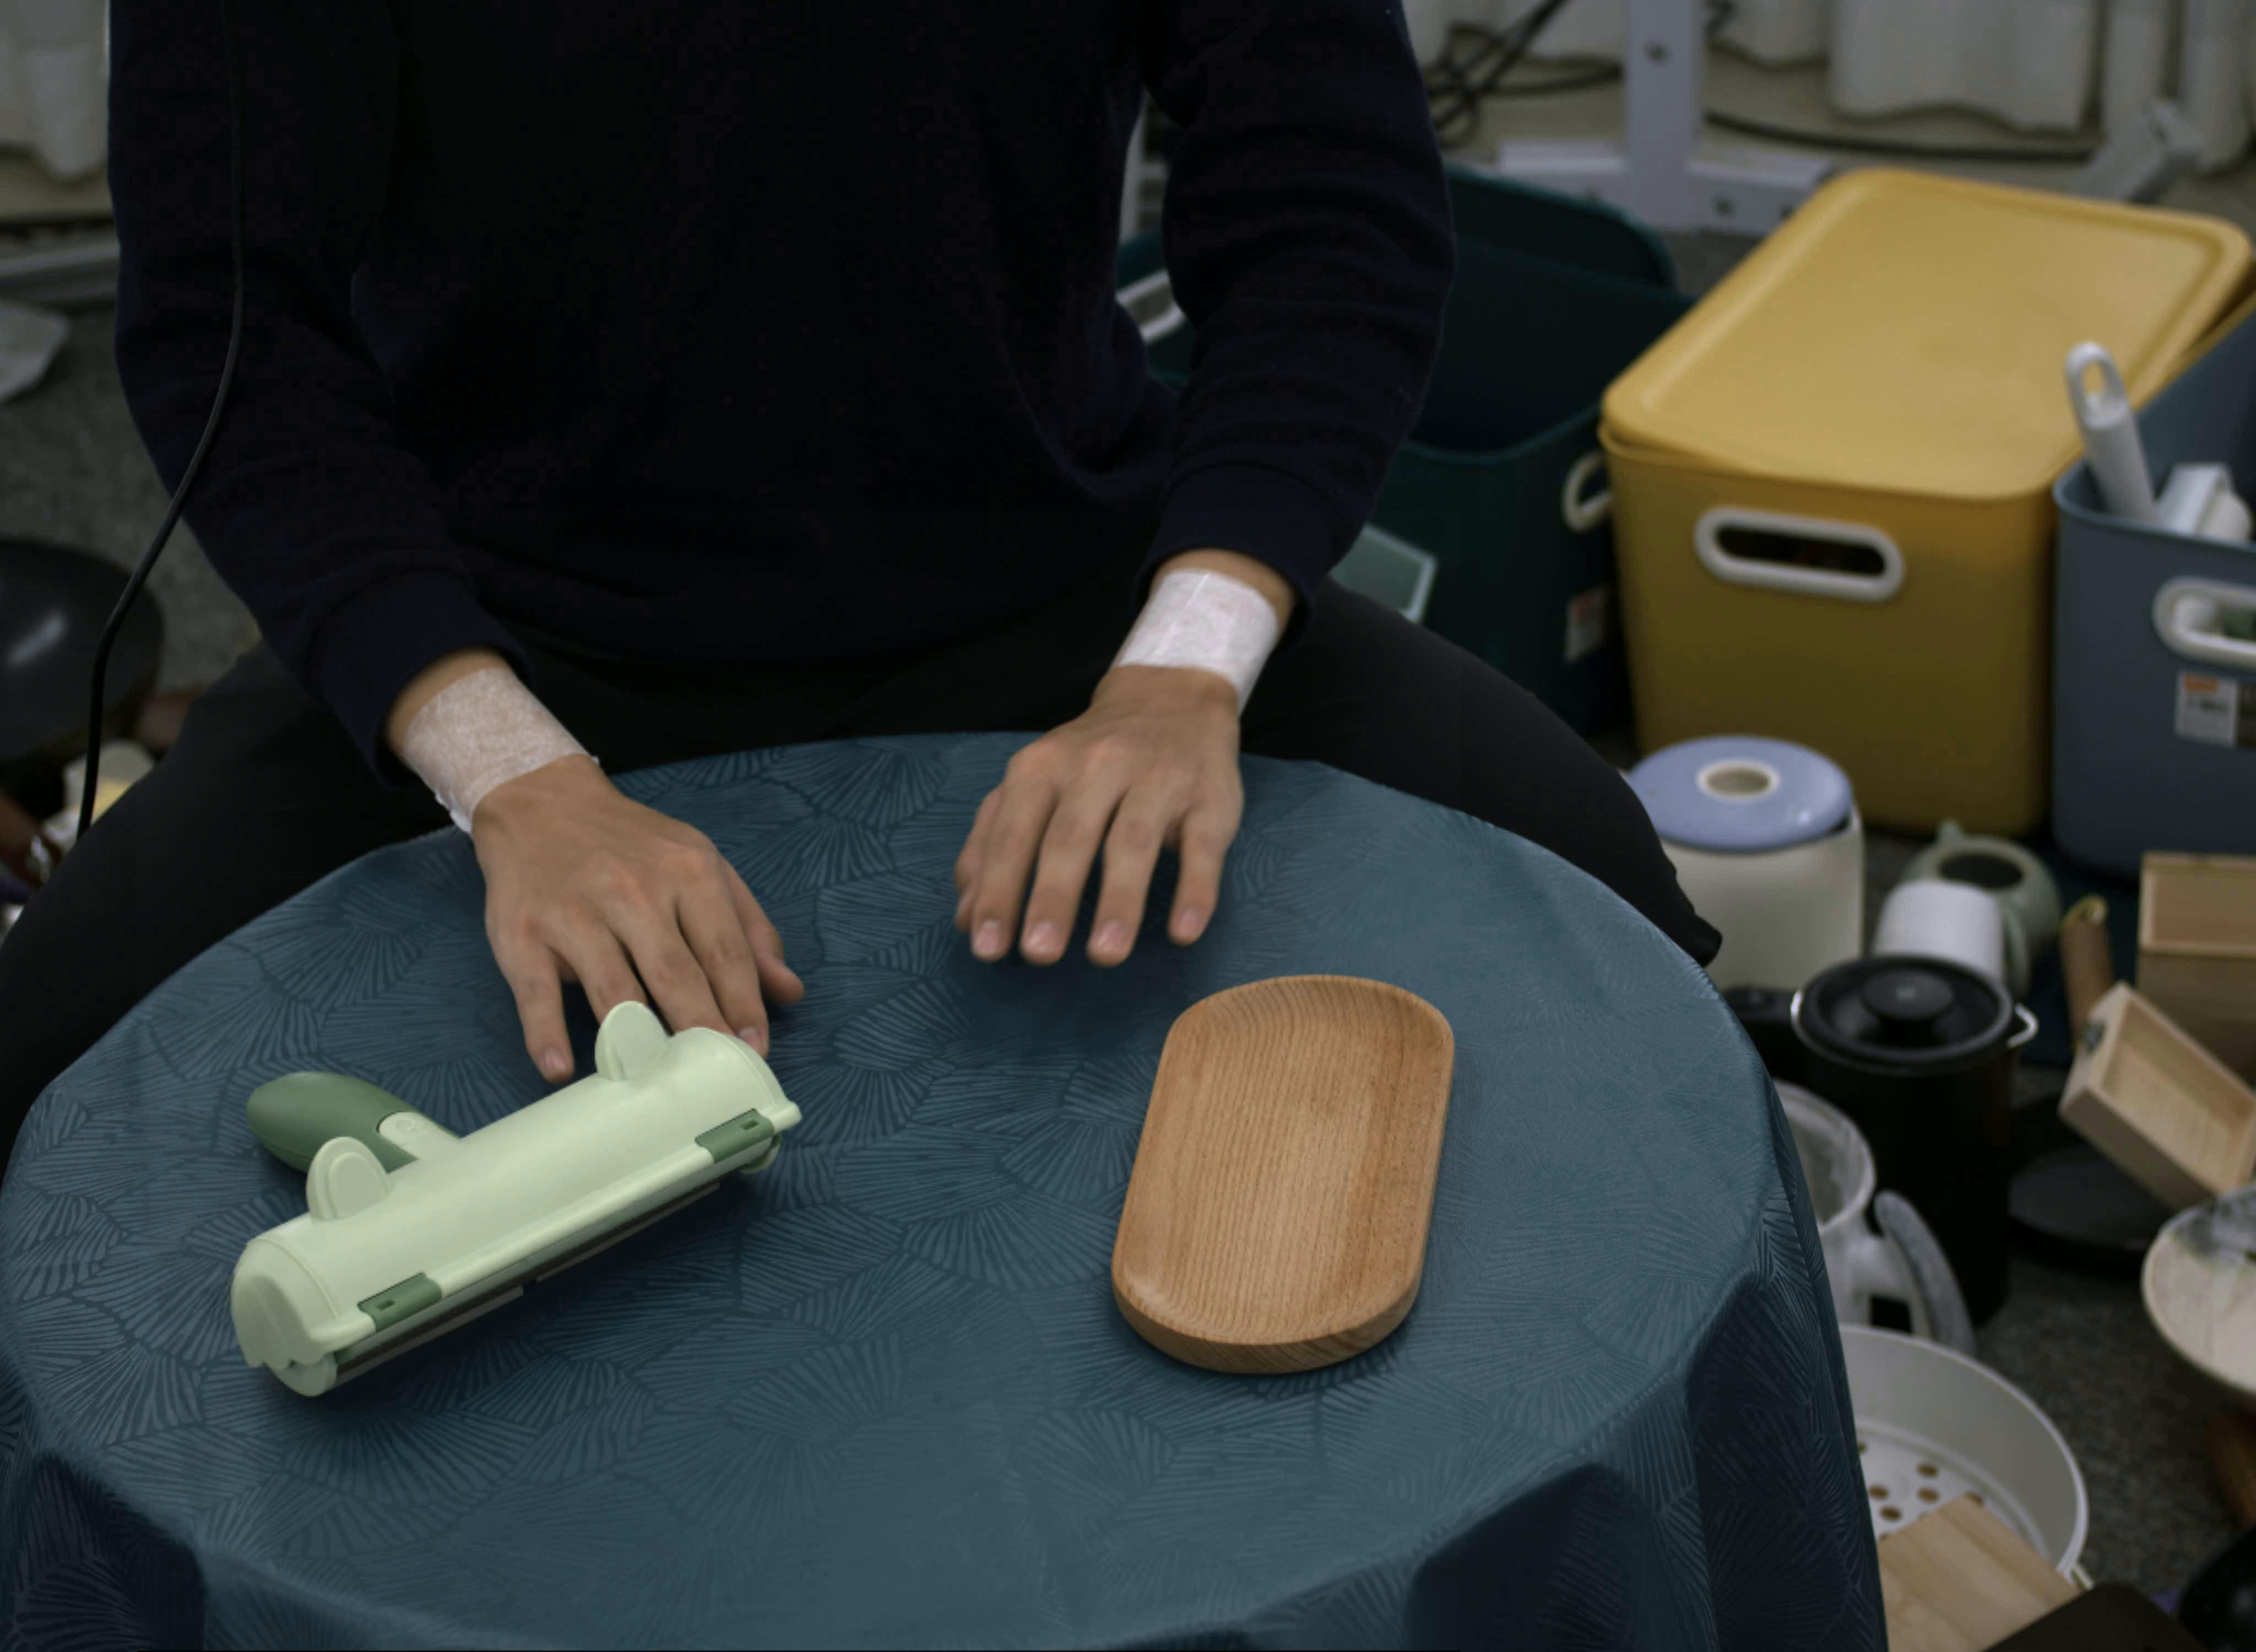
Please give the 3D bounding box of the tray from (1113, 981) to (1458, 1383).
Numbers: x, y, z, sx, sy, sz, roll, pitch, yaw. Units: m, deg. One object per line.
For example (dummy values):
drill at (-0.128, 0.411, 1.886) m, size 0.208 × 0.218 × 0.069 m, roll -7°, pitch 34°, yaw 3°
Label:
tray at (0.054, 0.115, 1.853) m, size 0.101 × 0.020 × 0.235 m, roll 0°, pitch 29°, yaw 8°

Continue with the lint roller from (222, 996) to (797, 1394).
lint roller at (-0.237, 0.095, 1.845) m, size 0.201 × 0.081 × 0.183 m, roll -25°, pitch 40°, yaw -37°
